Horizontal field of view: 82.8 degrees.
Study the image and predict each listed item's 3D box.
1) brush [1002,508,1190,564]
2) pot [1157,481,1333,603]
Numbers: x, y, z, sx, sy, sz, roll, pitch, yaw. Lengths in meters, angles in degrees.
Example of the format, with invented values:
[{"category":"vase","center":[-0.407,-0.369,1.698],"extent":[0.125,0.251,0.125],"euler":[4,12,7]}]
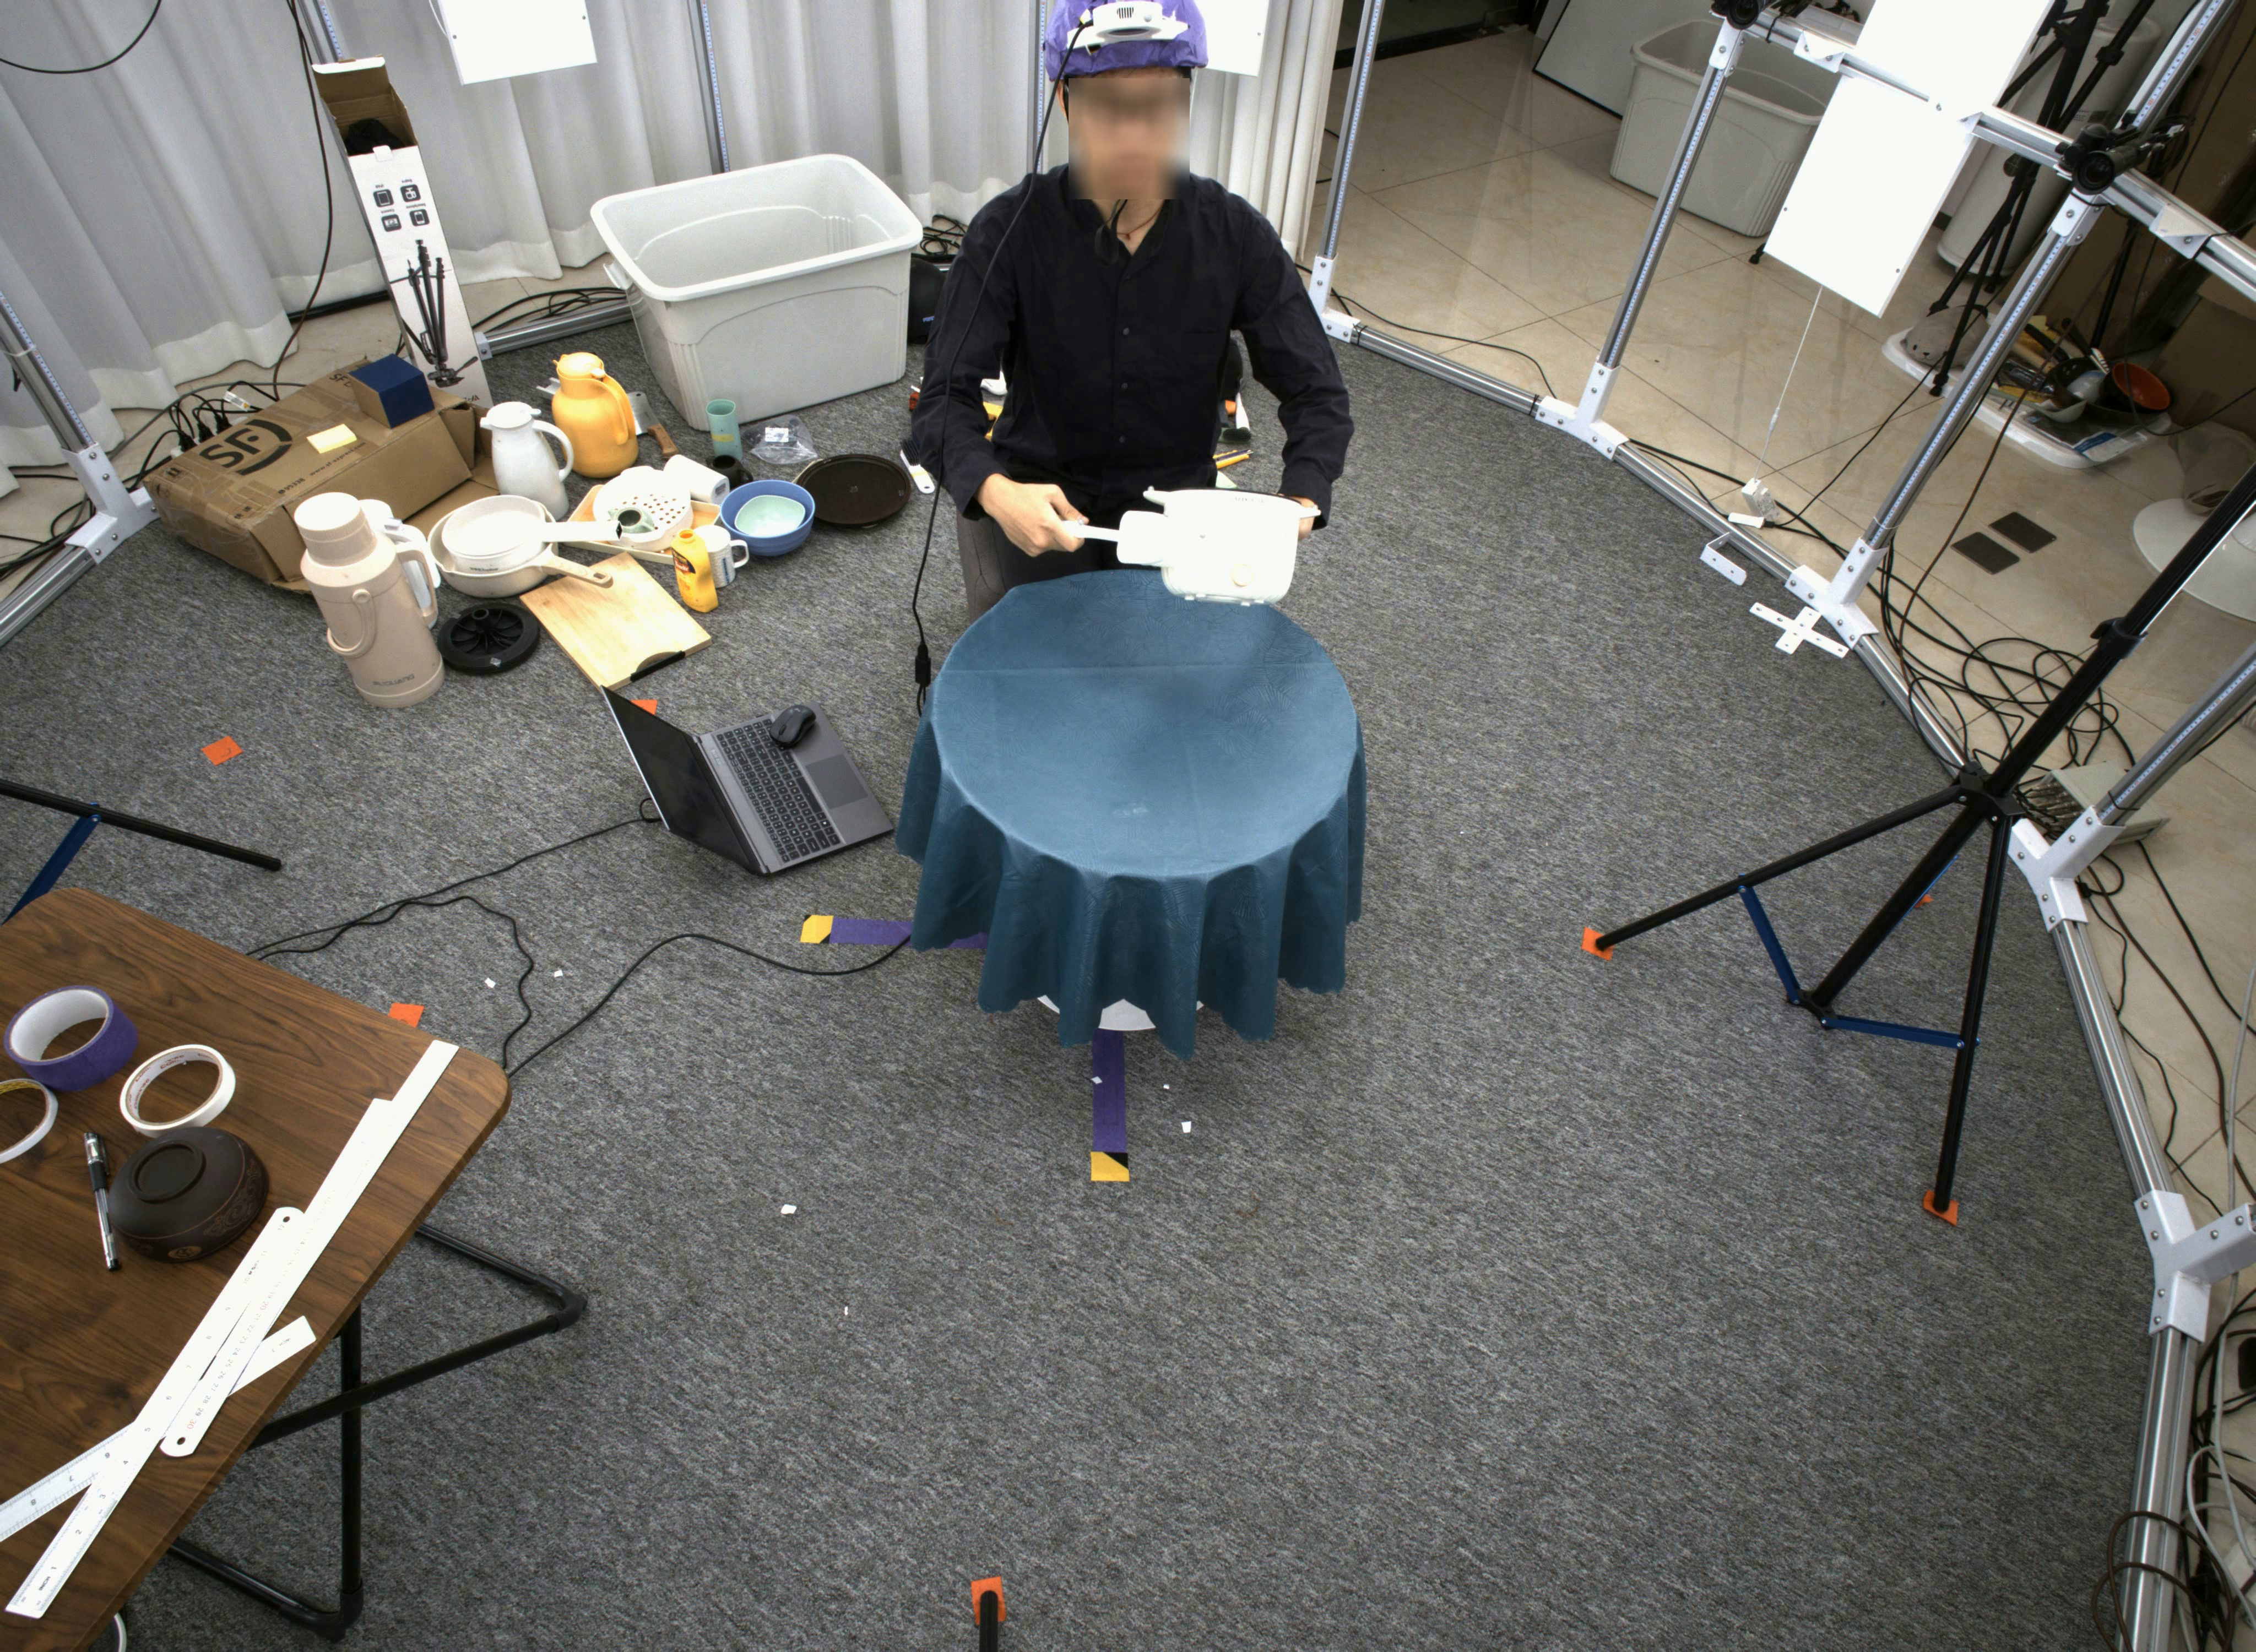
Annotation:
[{"category":"brush","center":[-0.036,-0.398,1.727],"extent":[0.329,0.083,0.084],"euler":[16,68,42]},{"category":"pot","center":[0.152,-0.371,1.698],"extent":[0.240,0.142,0.191],"euler":[3,3,-10]}]
